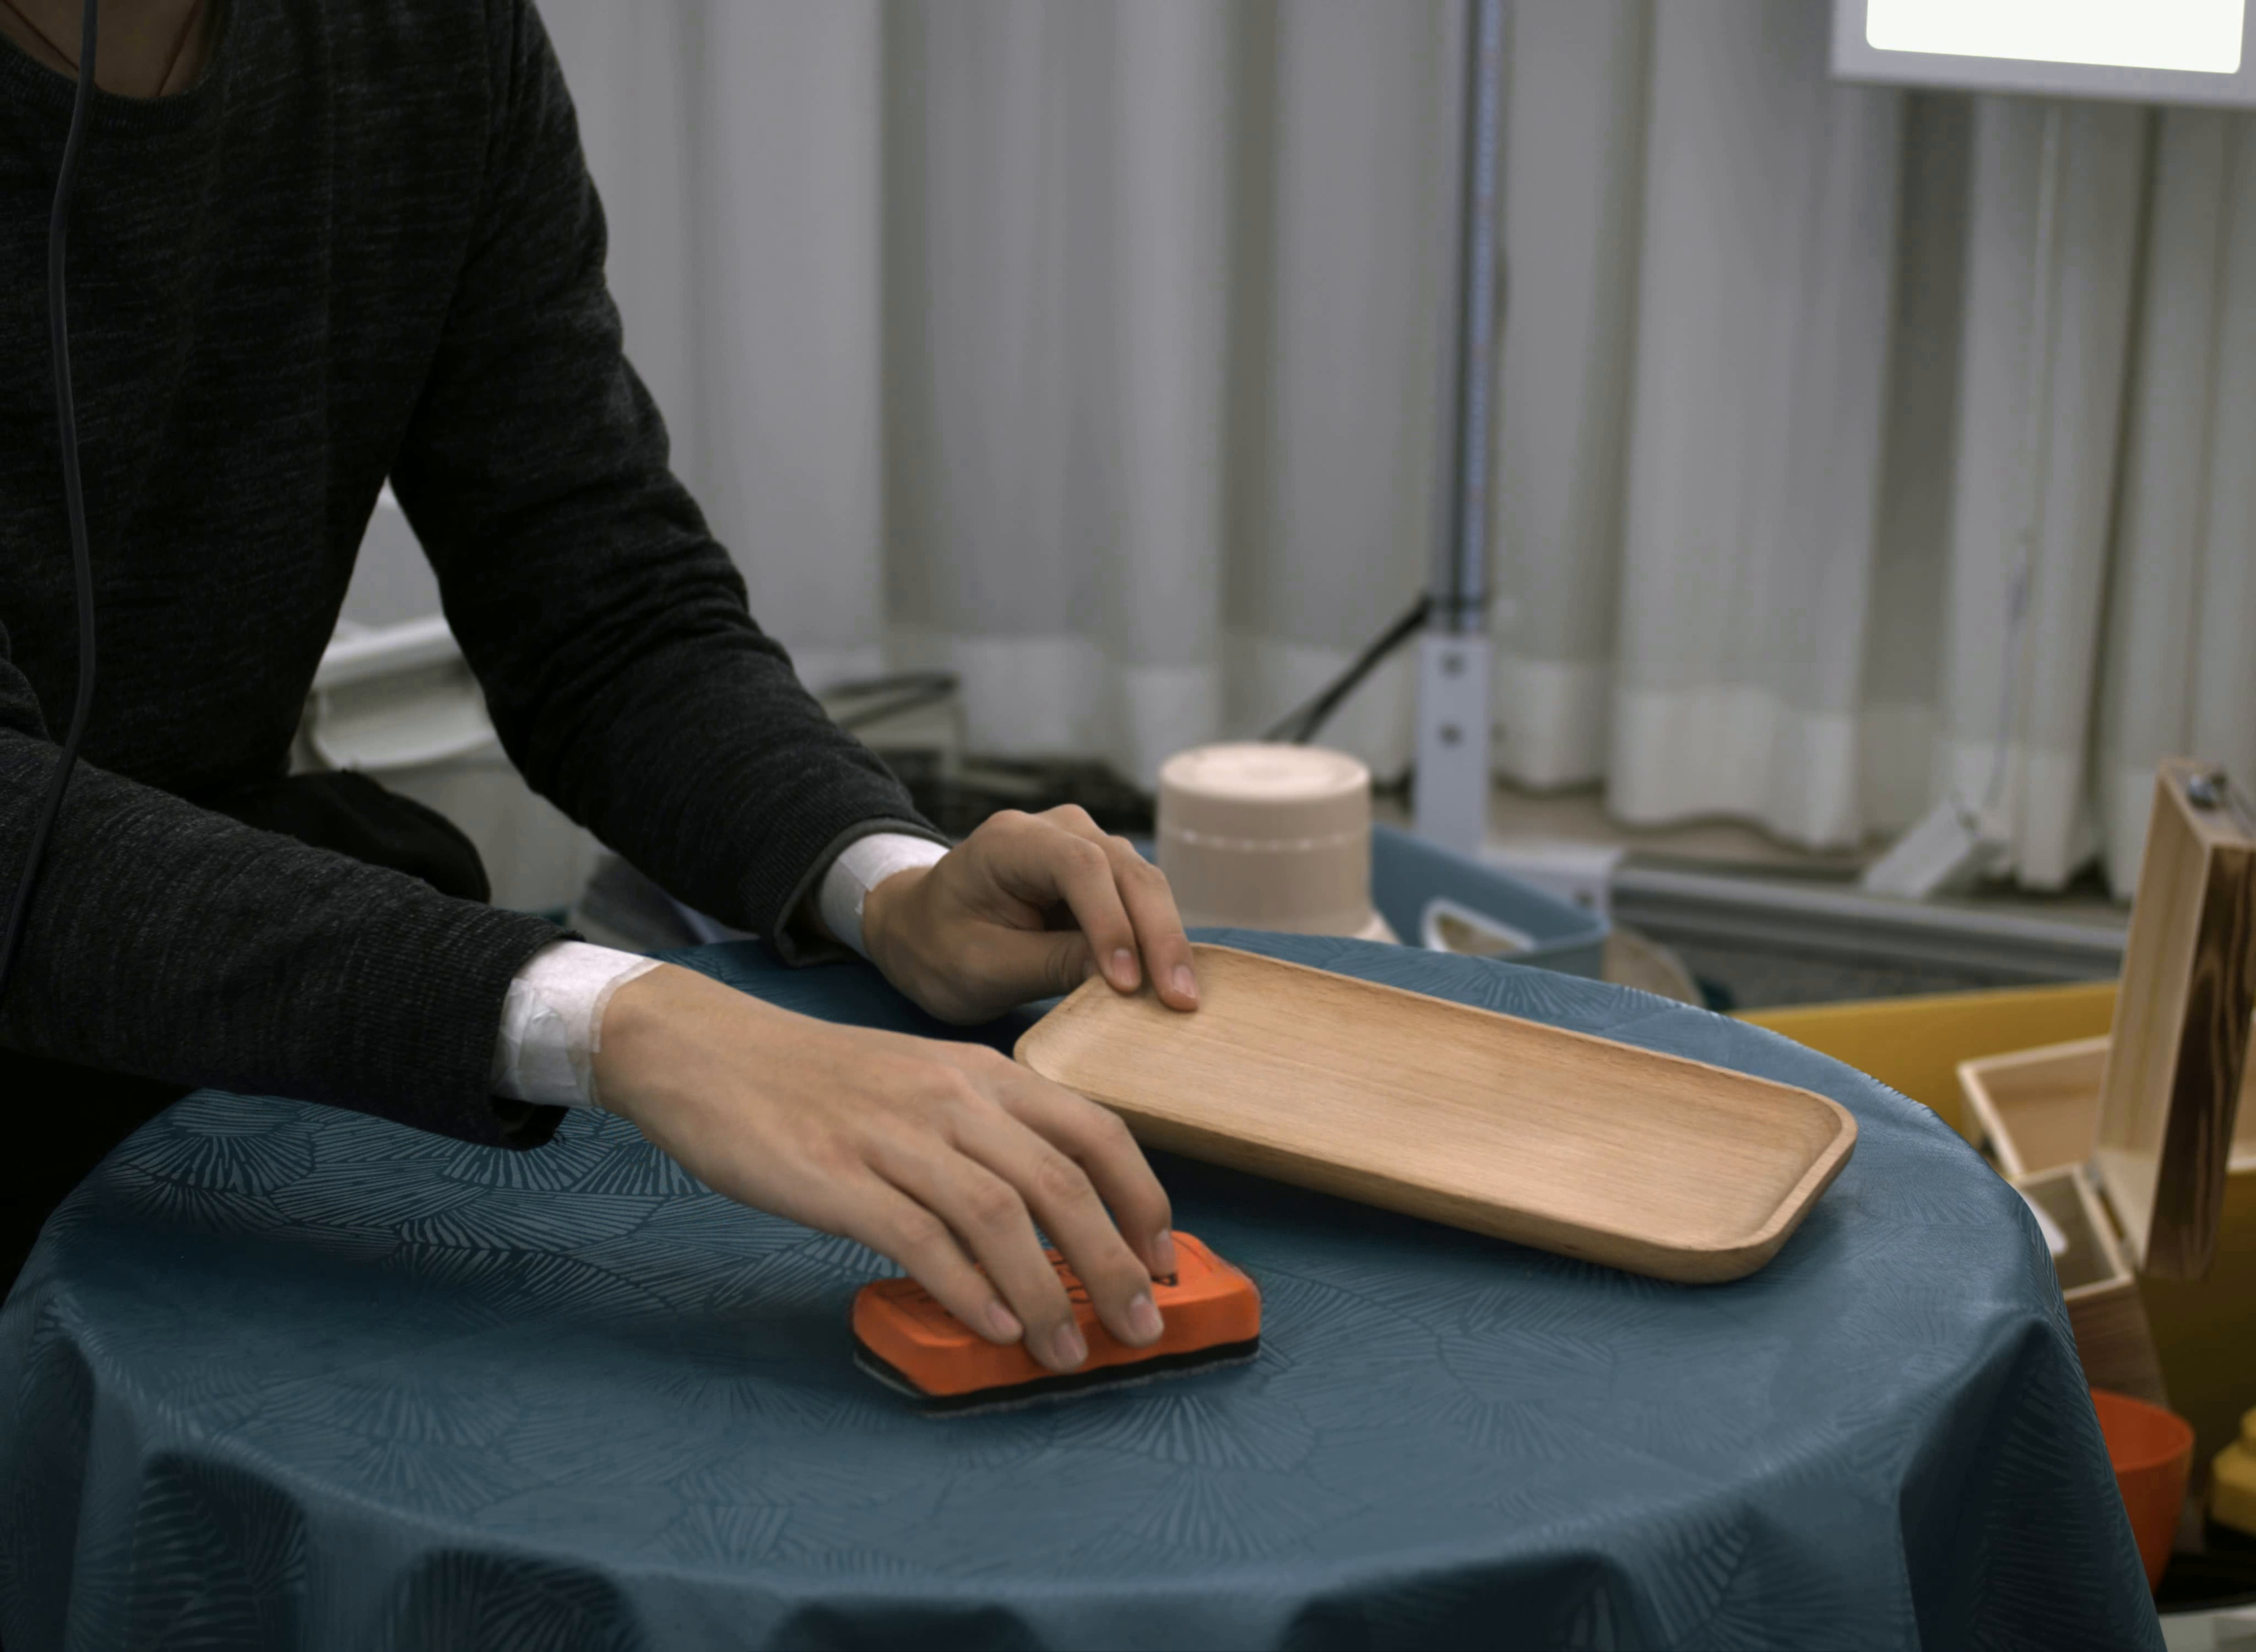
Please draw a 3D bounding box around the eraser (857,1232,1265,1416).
[{"bbox_3d":[-0.019,0.139,1.479,0.108,0.023,0.058,-8,16,-26],"label":"eraser"}]

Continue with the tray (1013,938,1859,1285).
[{"bbox_3d":[0.094,0.086,1.625,0.248,0.023,0.131,13,22,22],"label":"tray"}]
